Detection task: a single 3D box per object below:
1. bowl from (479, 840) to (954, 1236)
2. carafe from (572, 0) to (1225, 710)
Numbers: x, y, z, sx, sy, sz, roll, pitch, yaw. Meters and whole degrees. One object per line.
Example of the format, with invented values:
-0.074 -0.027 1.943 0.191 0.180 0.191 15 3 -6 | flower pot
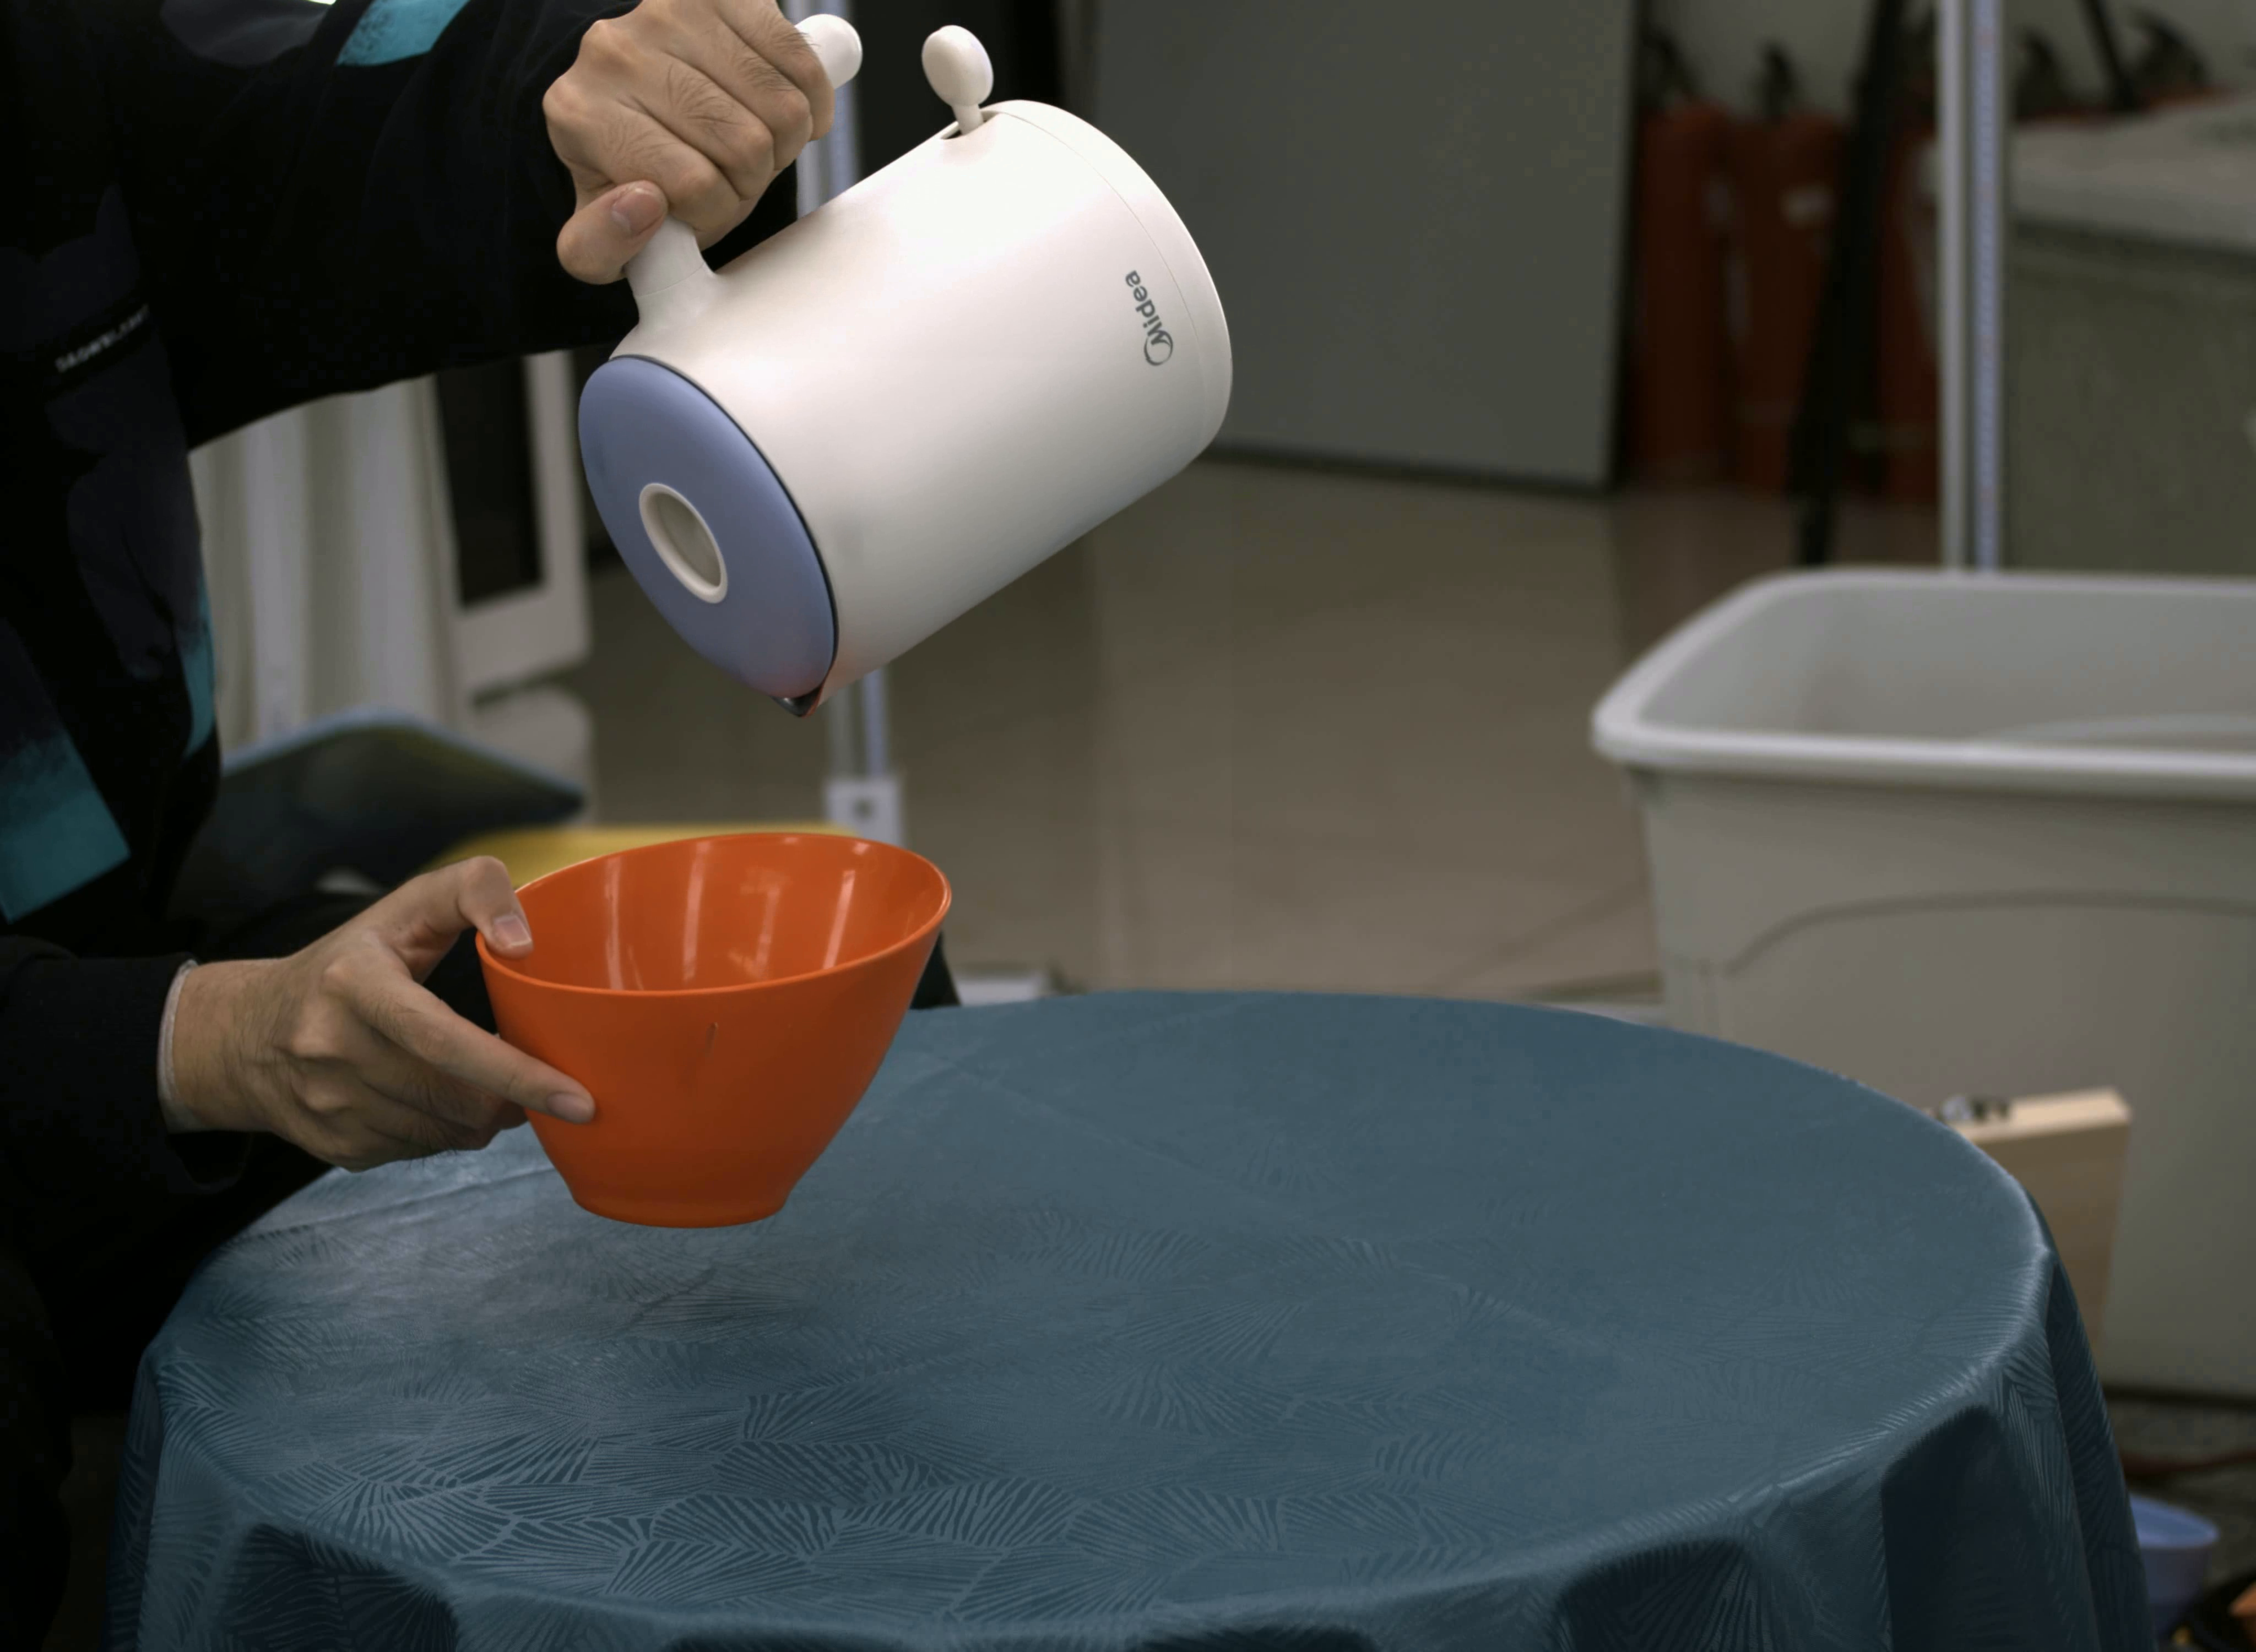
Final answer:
-0.128 0.067 1.677 0.146 0.106 0.148 2 11 -1 | bowl
-0.080 -0.157 1.669 0.180 0.192 0.133 -32 18 -28 | carafe
